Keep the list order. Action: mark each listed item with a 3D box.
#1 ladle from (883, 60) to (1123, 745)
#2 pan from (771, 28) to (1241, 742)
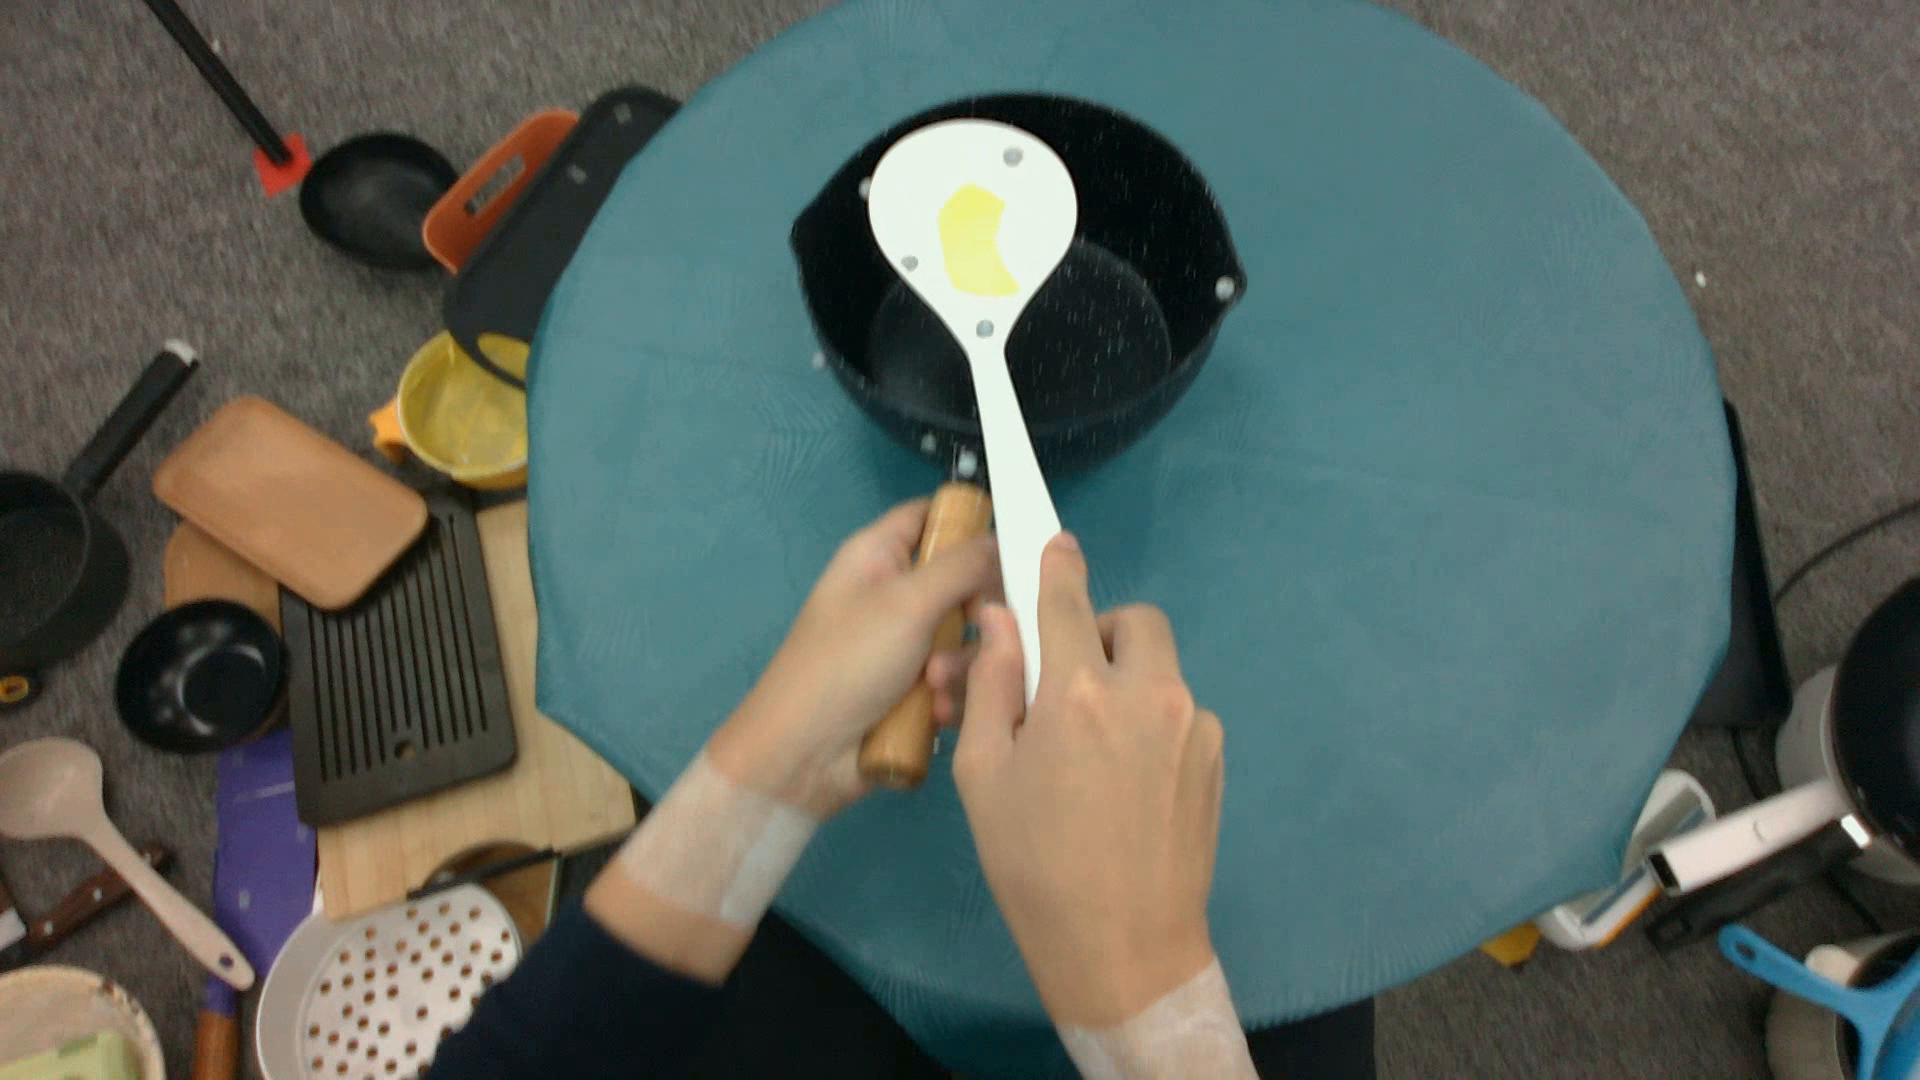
[{"bbox_3d":[0.024,-0.067,0.531,0.090,0.069,0.294,1,53,-13],"label":"ladle"},{"bbox_3d":[0.007,-0.066,0.591,0.207,0.108,0.344,8,66,5],"label":"pan"}]
